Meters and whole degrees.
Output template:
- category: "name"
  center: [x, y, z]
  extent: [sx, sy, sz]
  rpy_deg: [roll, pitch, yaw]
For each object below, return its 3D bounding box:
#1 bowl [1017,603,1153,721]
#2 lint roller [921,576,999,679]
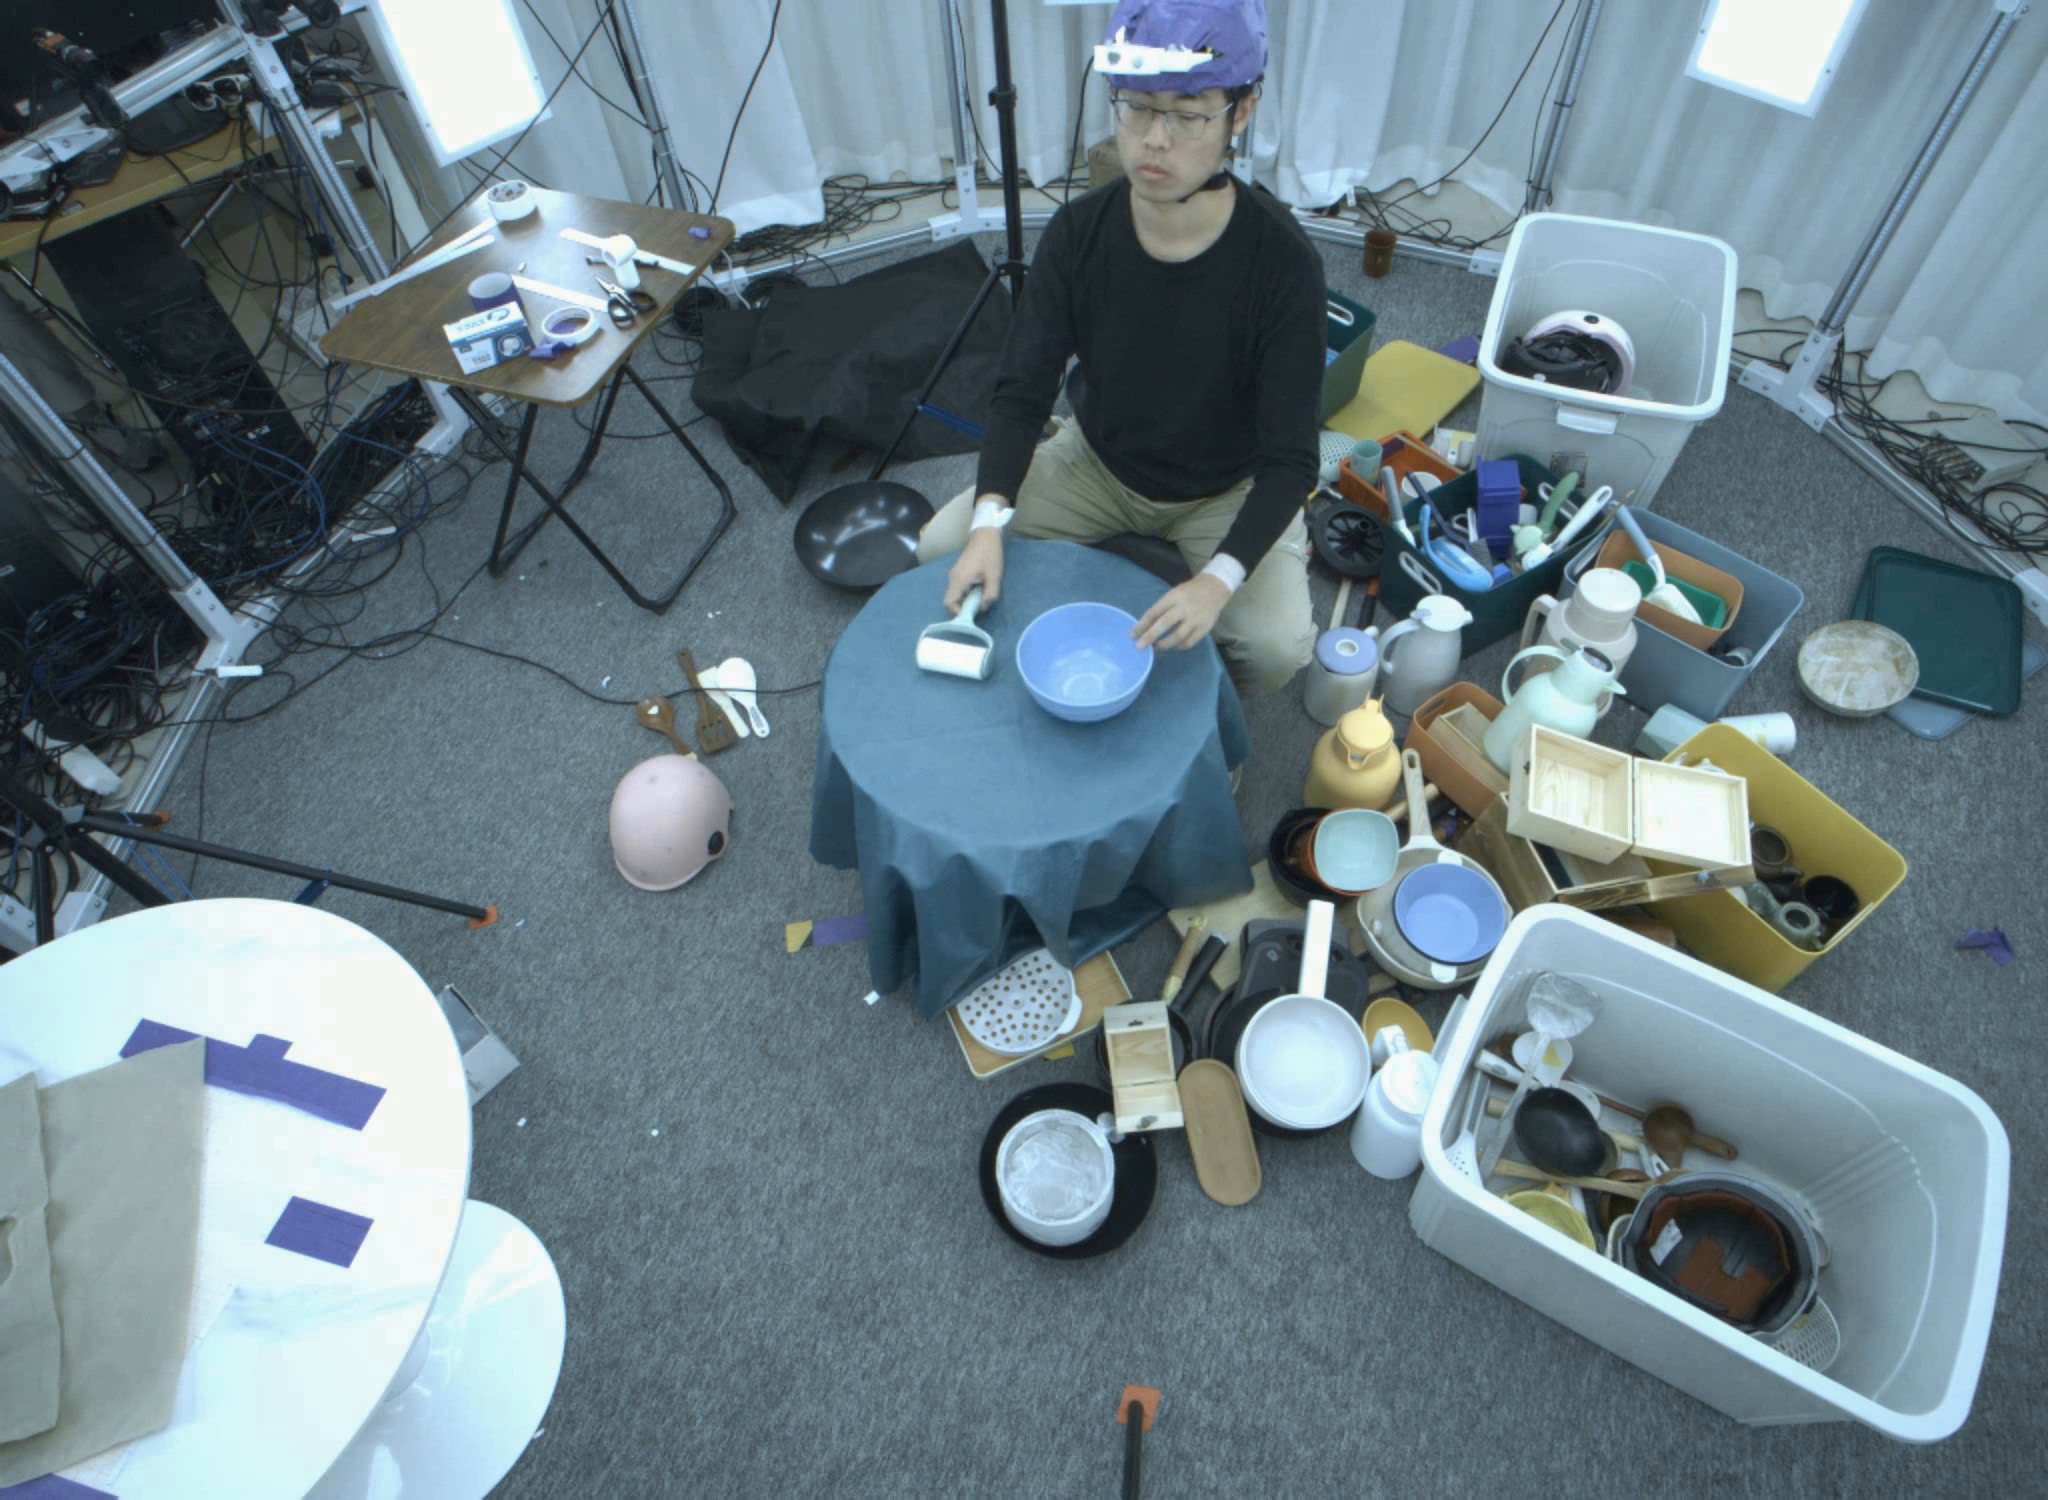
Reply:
- category: "bowl"
  center: [0.090, -0.114, 1.806]
  extent: [0.196, 0.096, 0.194]
  rpy_deg: [-1, 54, 3]
- category: "lint roller"
  center: [-0.079, -0.199, 1.892]
  extent: [0.115, 0.049, 0.197]
  rpy_deg: [11, 62, 12]
